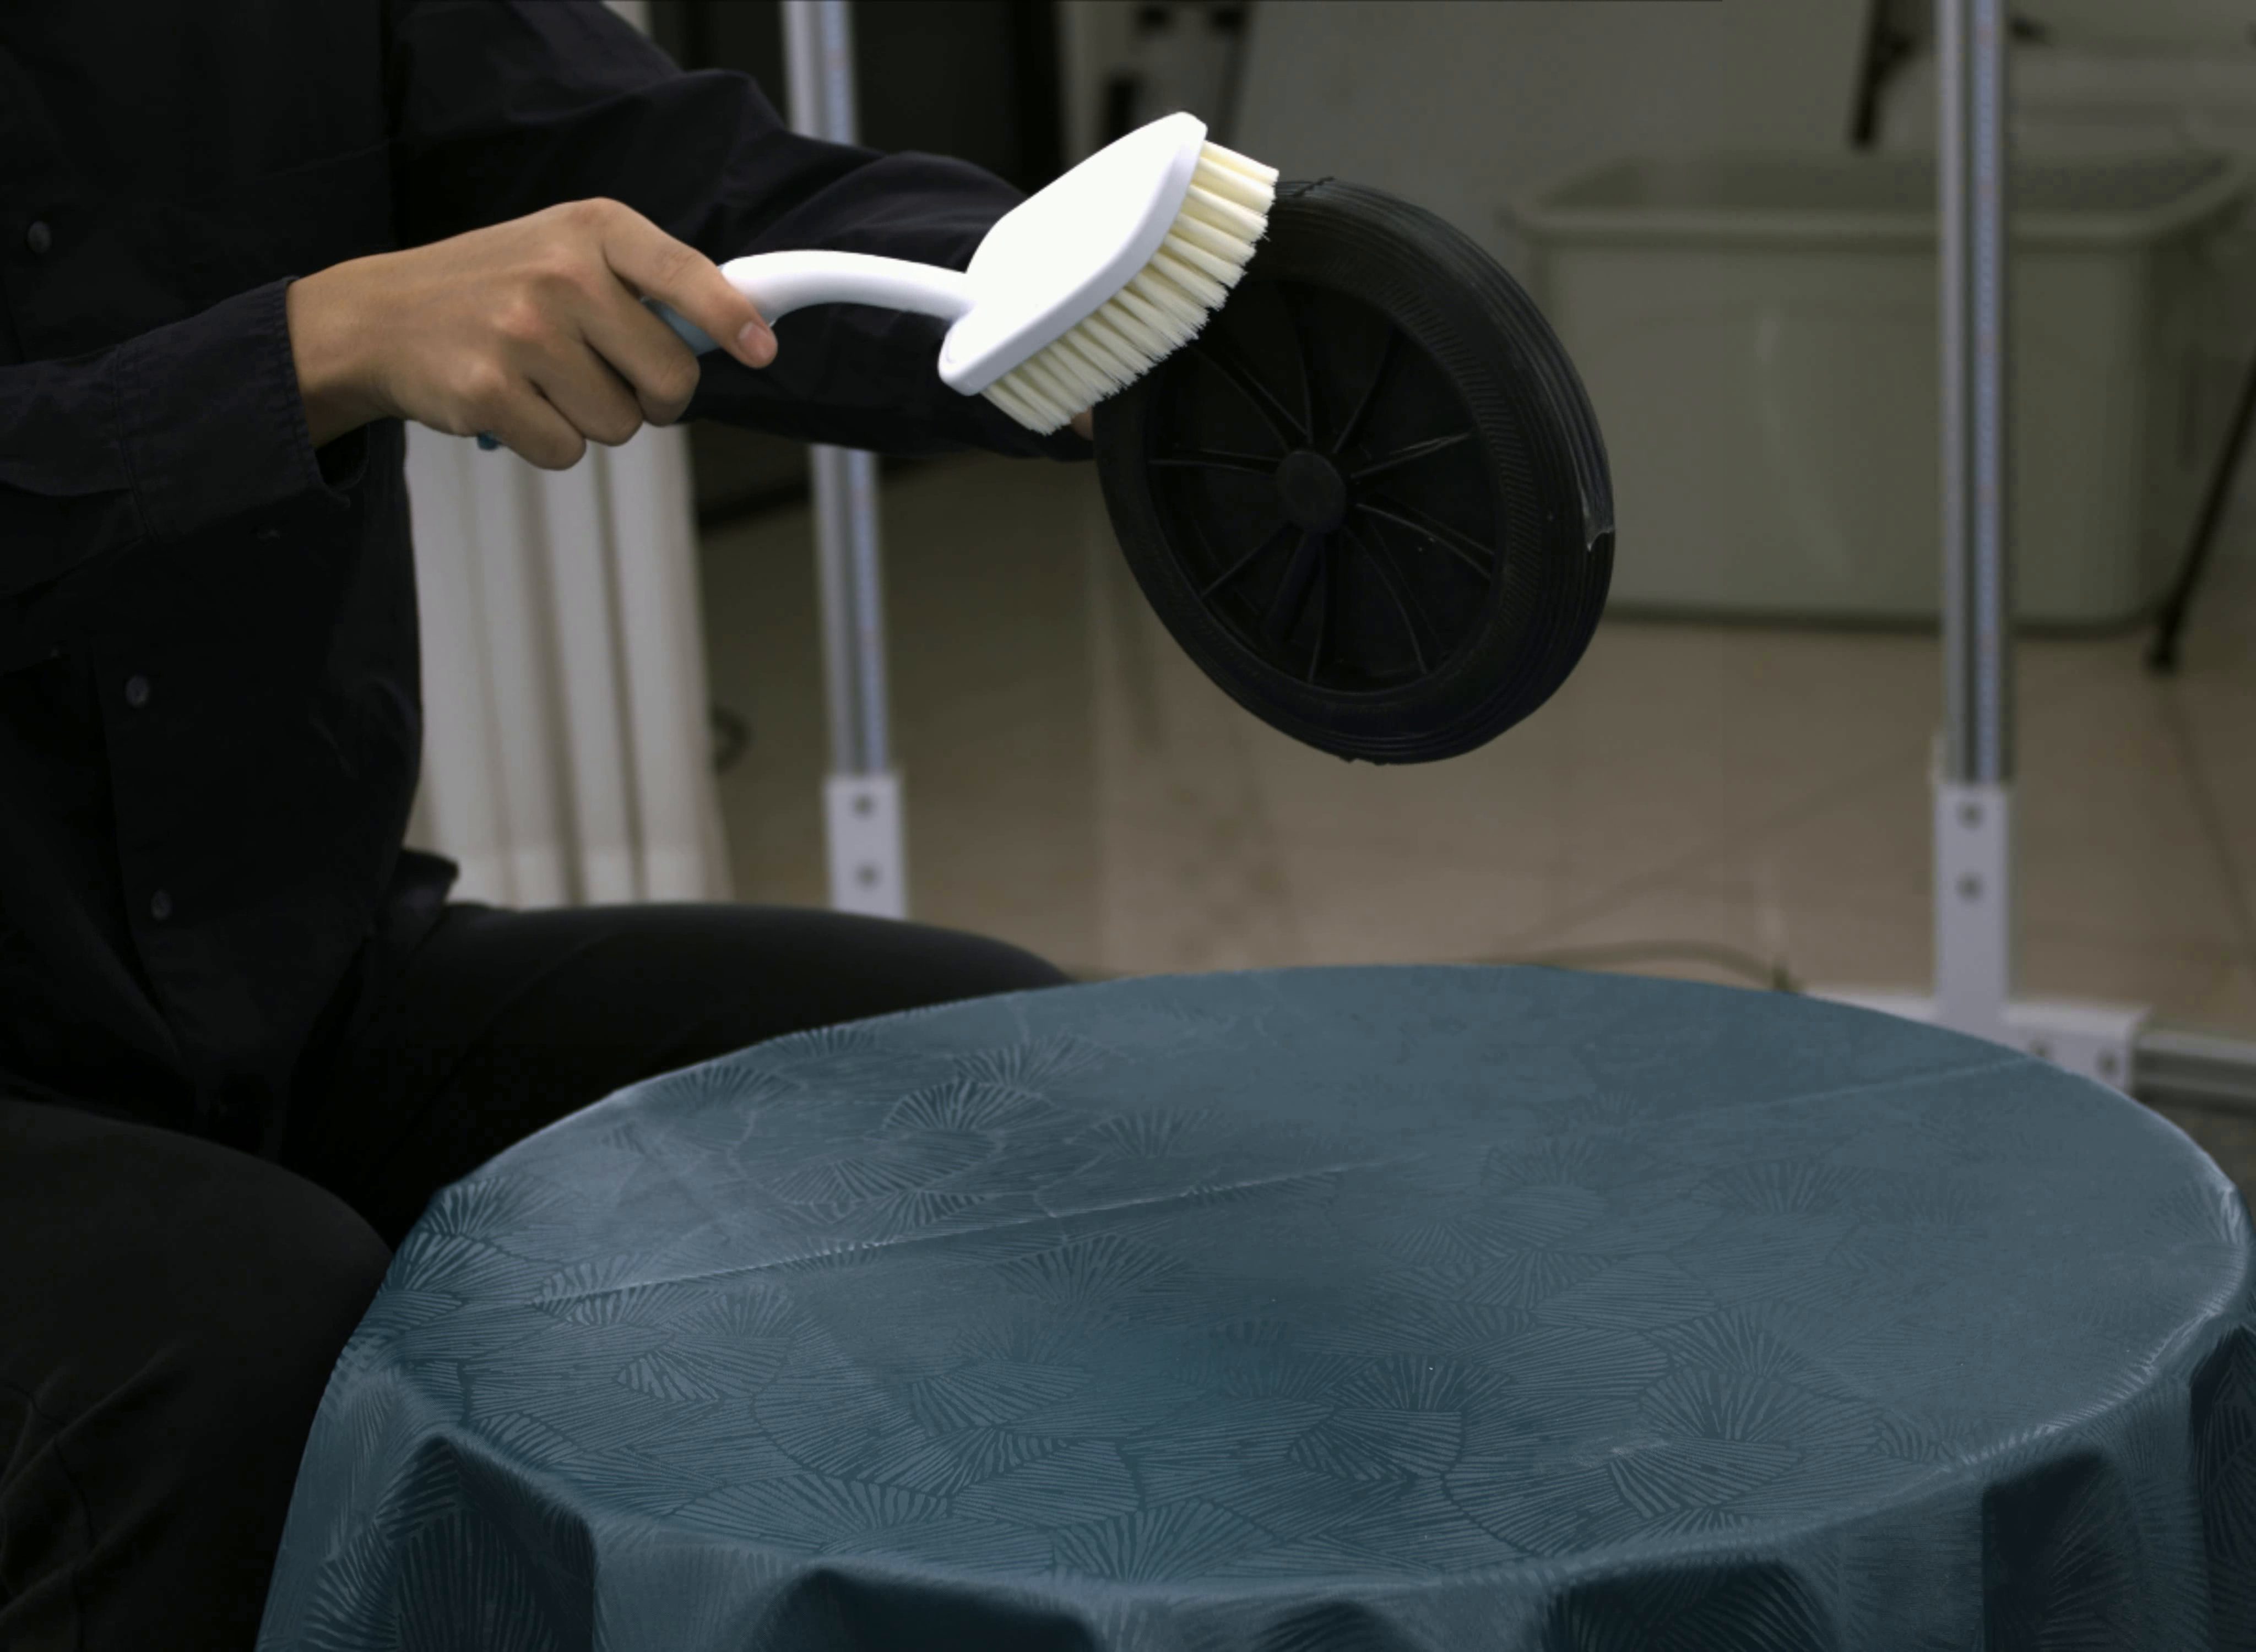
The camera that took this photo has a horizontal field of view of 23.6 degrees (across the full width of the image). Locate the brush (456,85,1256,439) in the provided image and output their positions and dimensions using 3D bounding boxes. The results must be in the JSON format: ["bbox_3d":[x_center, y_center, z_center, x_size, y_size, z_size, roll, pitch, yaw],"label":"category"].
[{"bbox_3d":[-0.079,-0.159,1.704,0.328,0.085,0.082,-16,11,40],"label":"brush"}]

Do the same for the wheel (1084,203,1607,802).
[{"bbox_3d":[0.079,-0.107,1.684,0.191,0.189,0.078,39,42,19],"label":"wheel"}]
